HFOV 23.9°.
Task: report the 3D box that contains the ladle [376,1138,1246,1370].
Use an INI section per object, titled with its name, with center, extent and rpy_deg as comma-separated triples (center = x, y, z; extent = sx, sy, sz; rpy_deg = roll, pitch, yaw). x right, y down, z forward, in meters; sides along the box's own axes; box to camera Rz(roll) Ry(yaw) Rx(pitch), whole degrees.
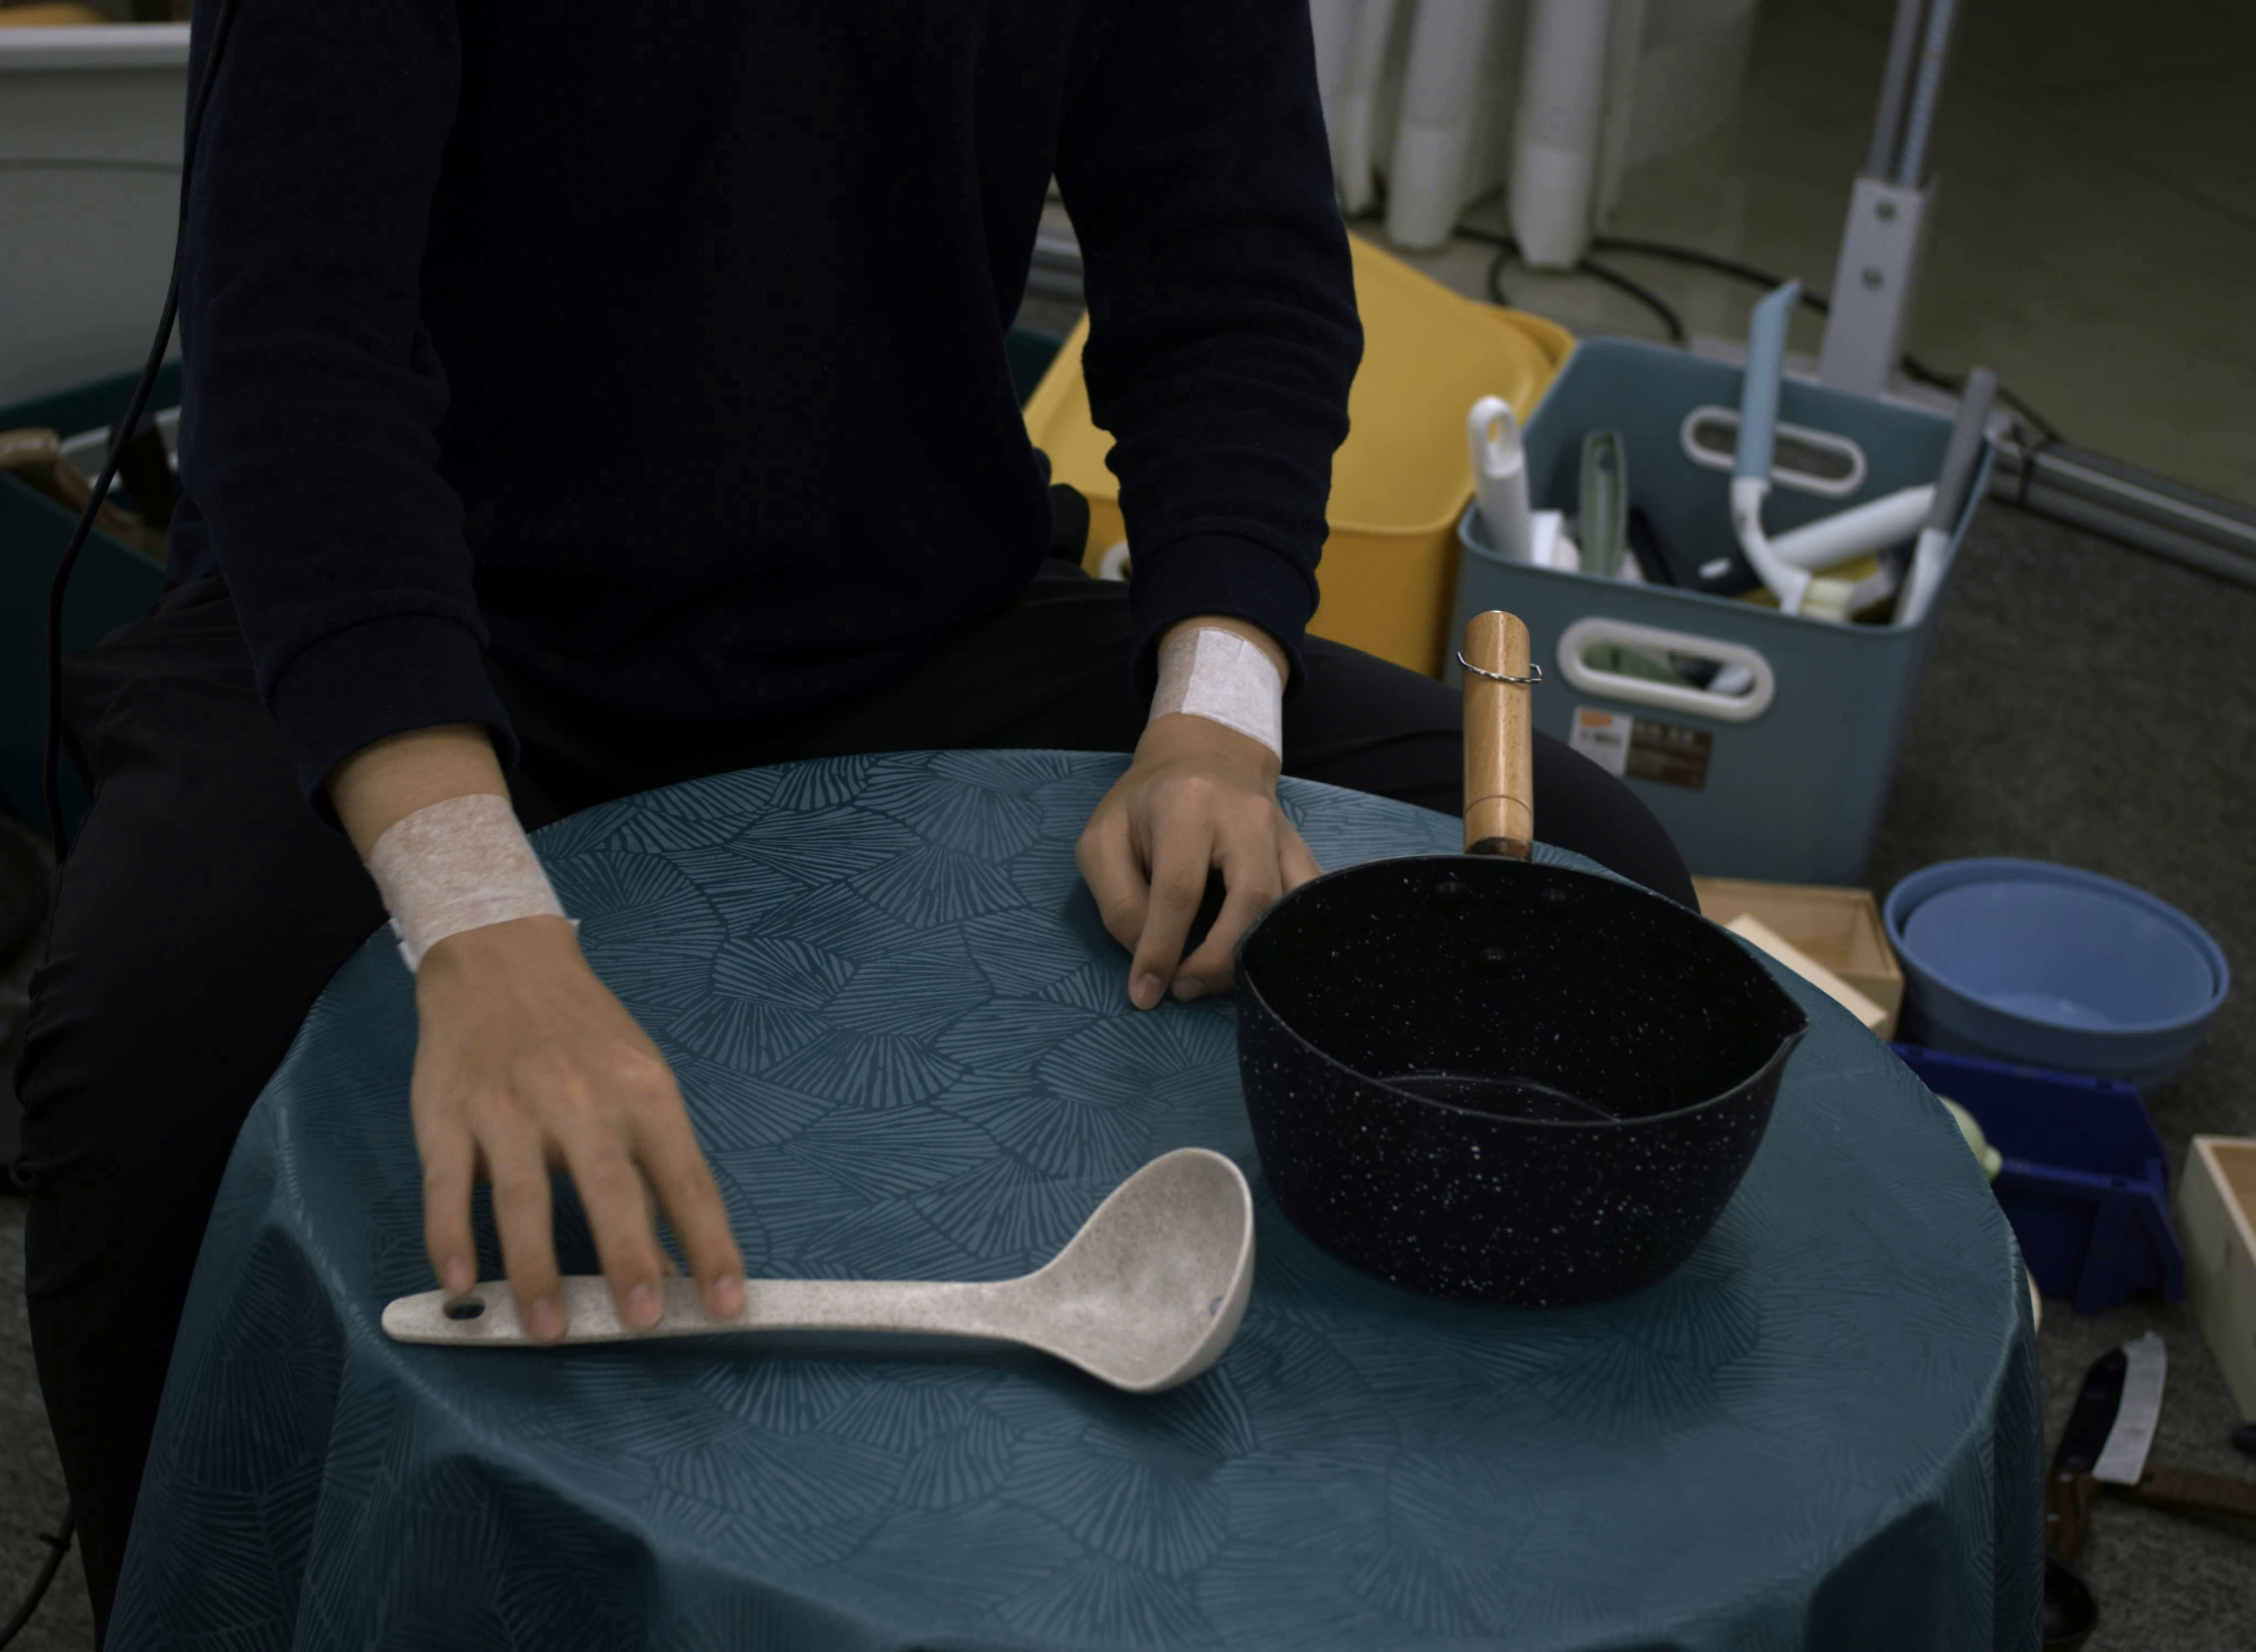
[ladle]
center = -0.099, 0.135, 1.679
extent = 0.273, 0.069, 0.090
rpy_deg = 1, 32, -7

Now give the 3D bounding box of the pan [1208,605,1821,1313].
[pan]
center = 0.128, 0.043, 1.871
extent = 0.207, 0.108, 0.345
rpy_deg = 5, 28, -2
